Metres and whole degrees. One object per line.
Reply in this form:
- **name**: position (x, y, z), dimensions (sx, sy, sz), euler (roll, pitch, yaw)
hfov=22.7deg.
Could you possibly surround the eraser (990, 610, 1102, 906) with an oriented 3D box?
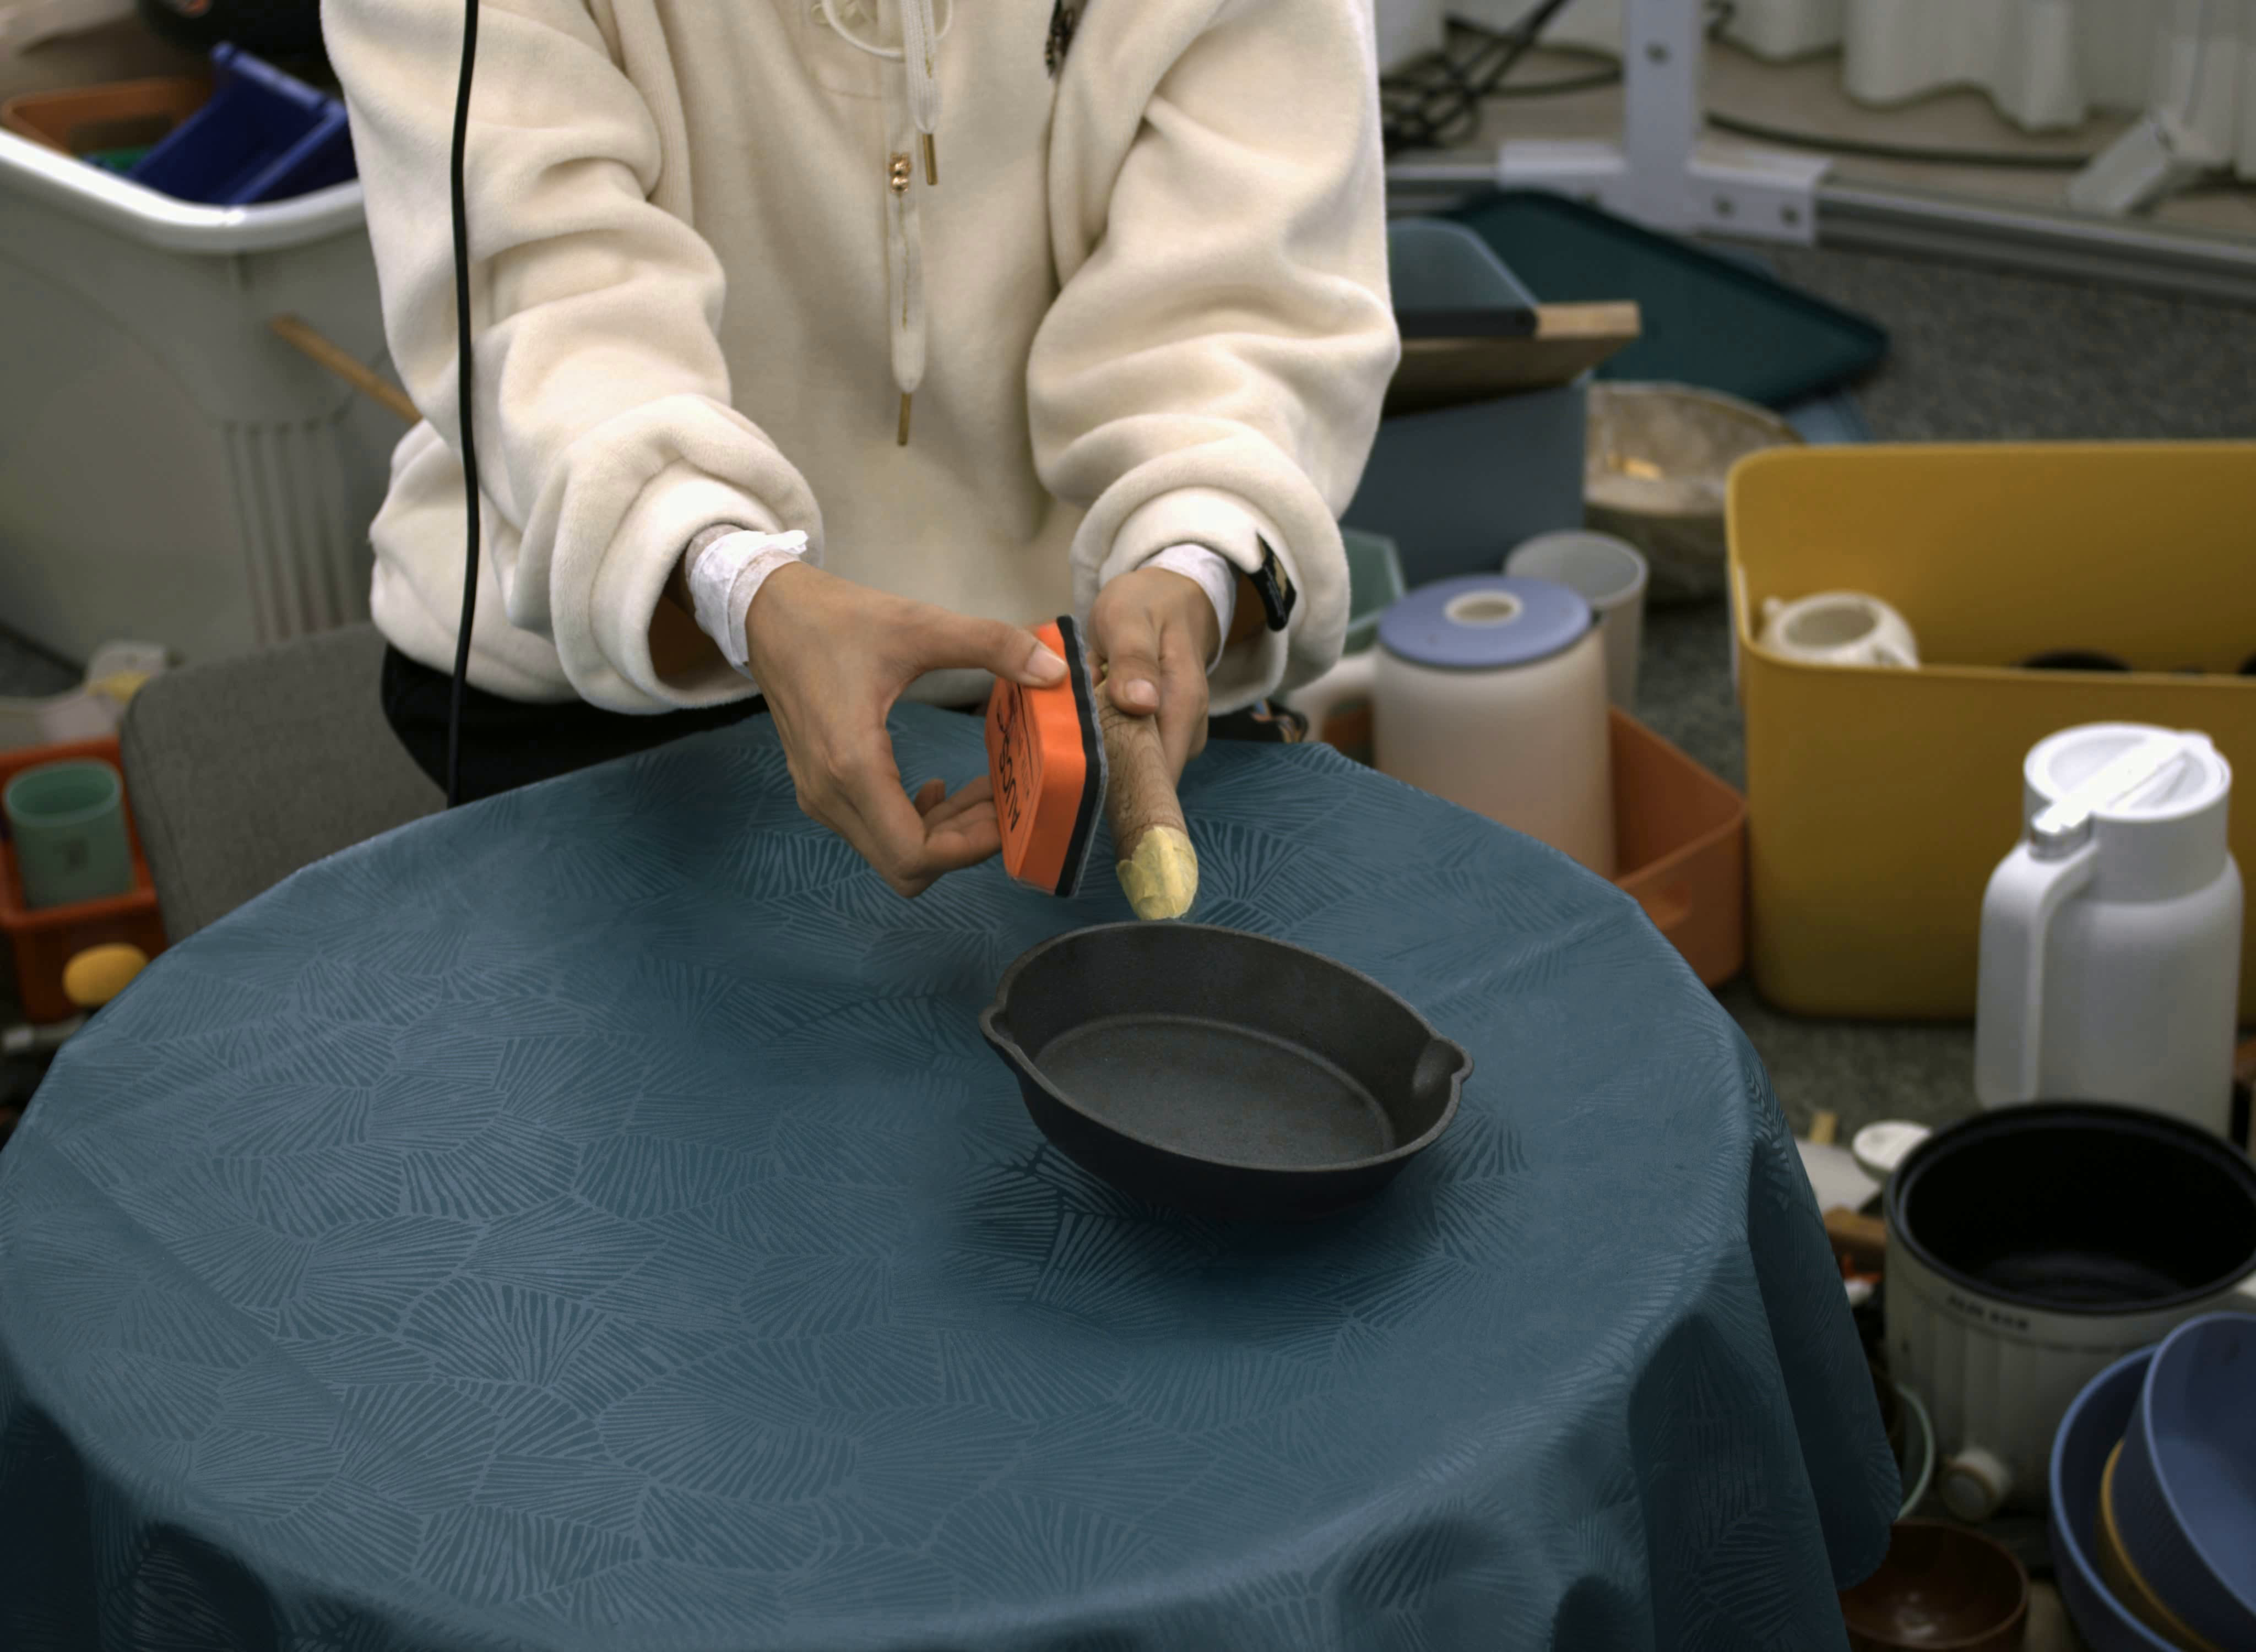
- **eraser**: position (-0.029, -0.024, 1.951), dimensions (0.023, 0.058, 0.110), euler (8, 33, -12)

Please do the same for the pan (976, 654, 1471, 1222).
- **pan**: position (0.018, 0.035, 1.927), dimensions (0.168, 0.049, 0.329), euler (5, 29, -13)
